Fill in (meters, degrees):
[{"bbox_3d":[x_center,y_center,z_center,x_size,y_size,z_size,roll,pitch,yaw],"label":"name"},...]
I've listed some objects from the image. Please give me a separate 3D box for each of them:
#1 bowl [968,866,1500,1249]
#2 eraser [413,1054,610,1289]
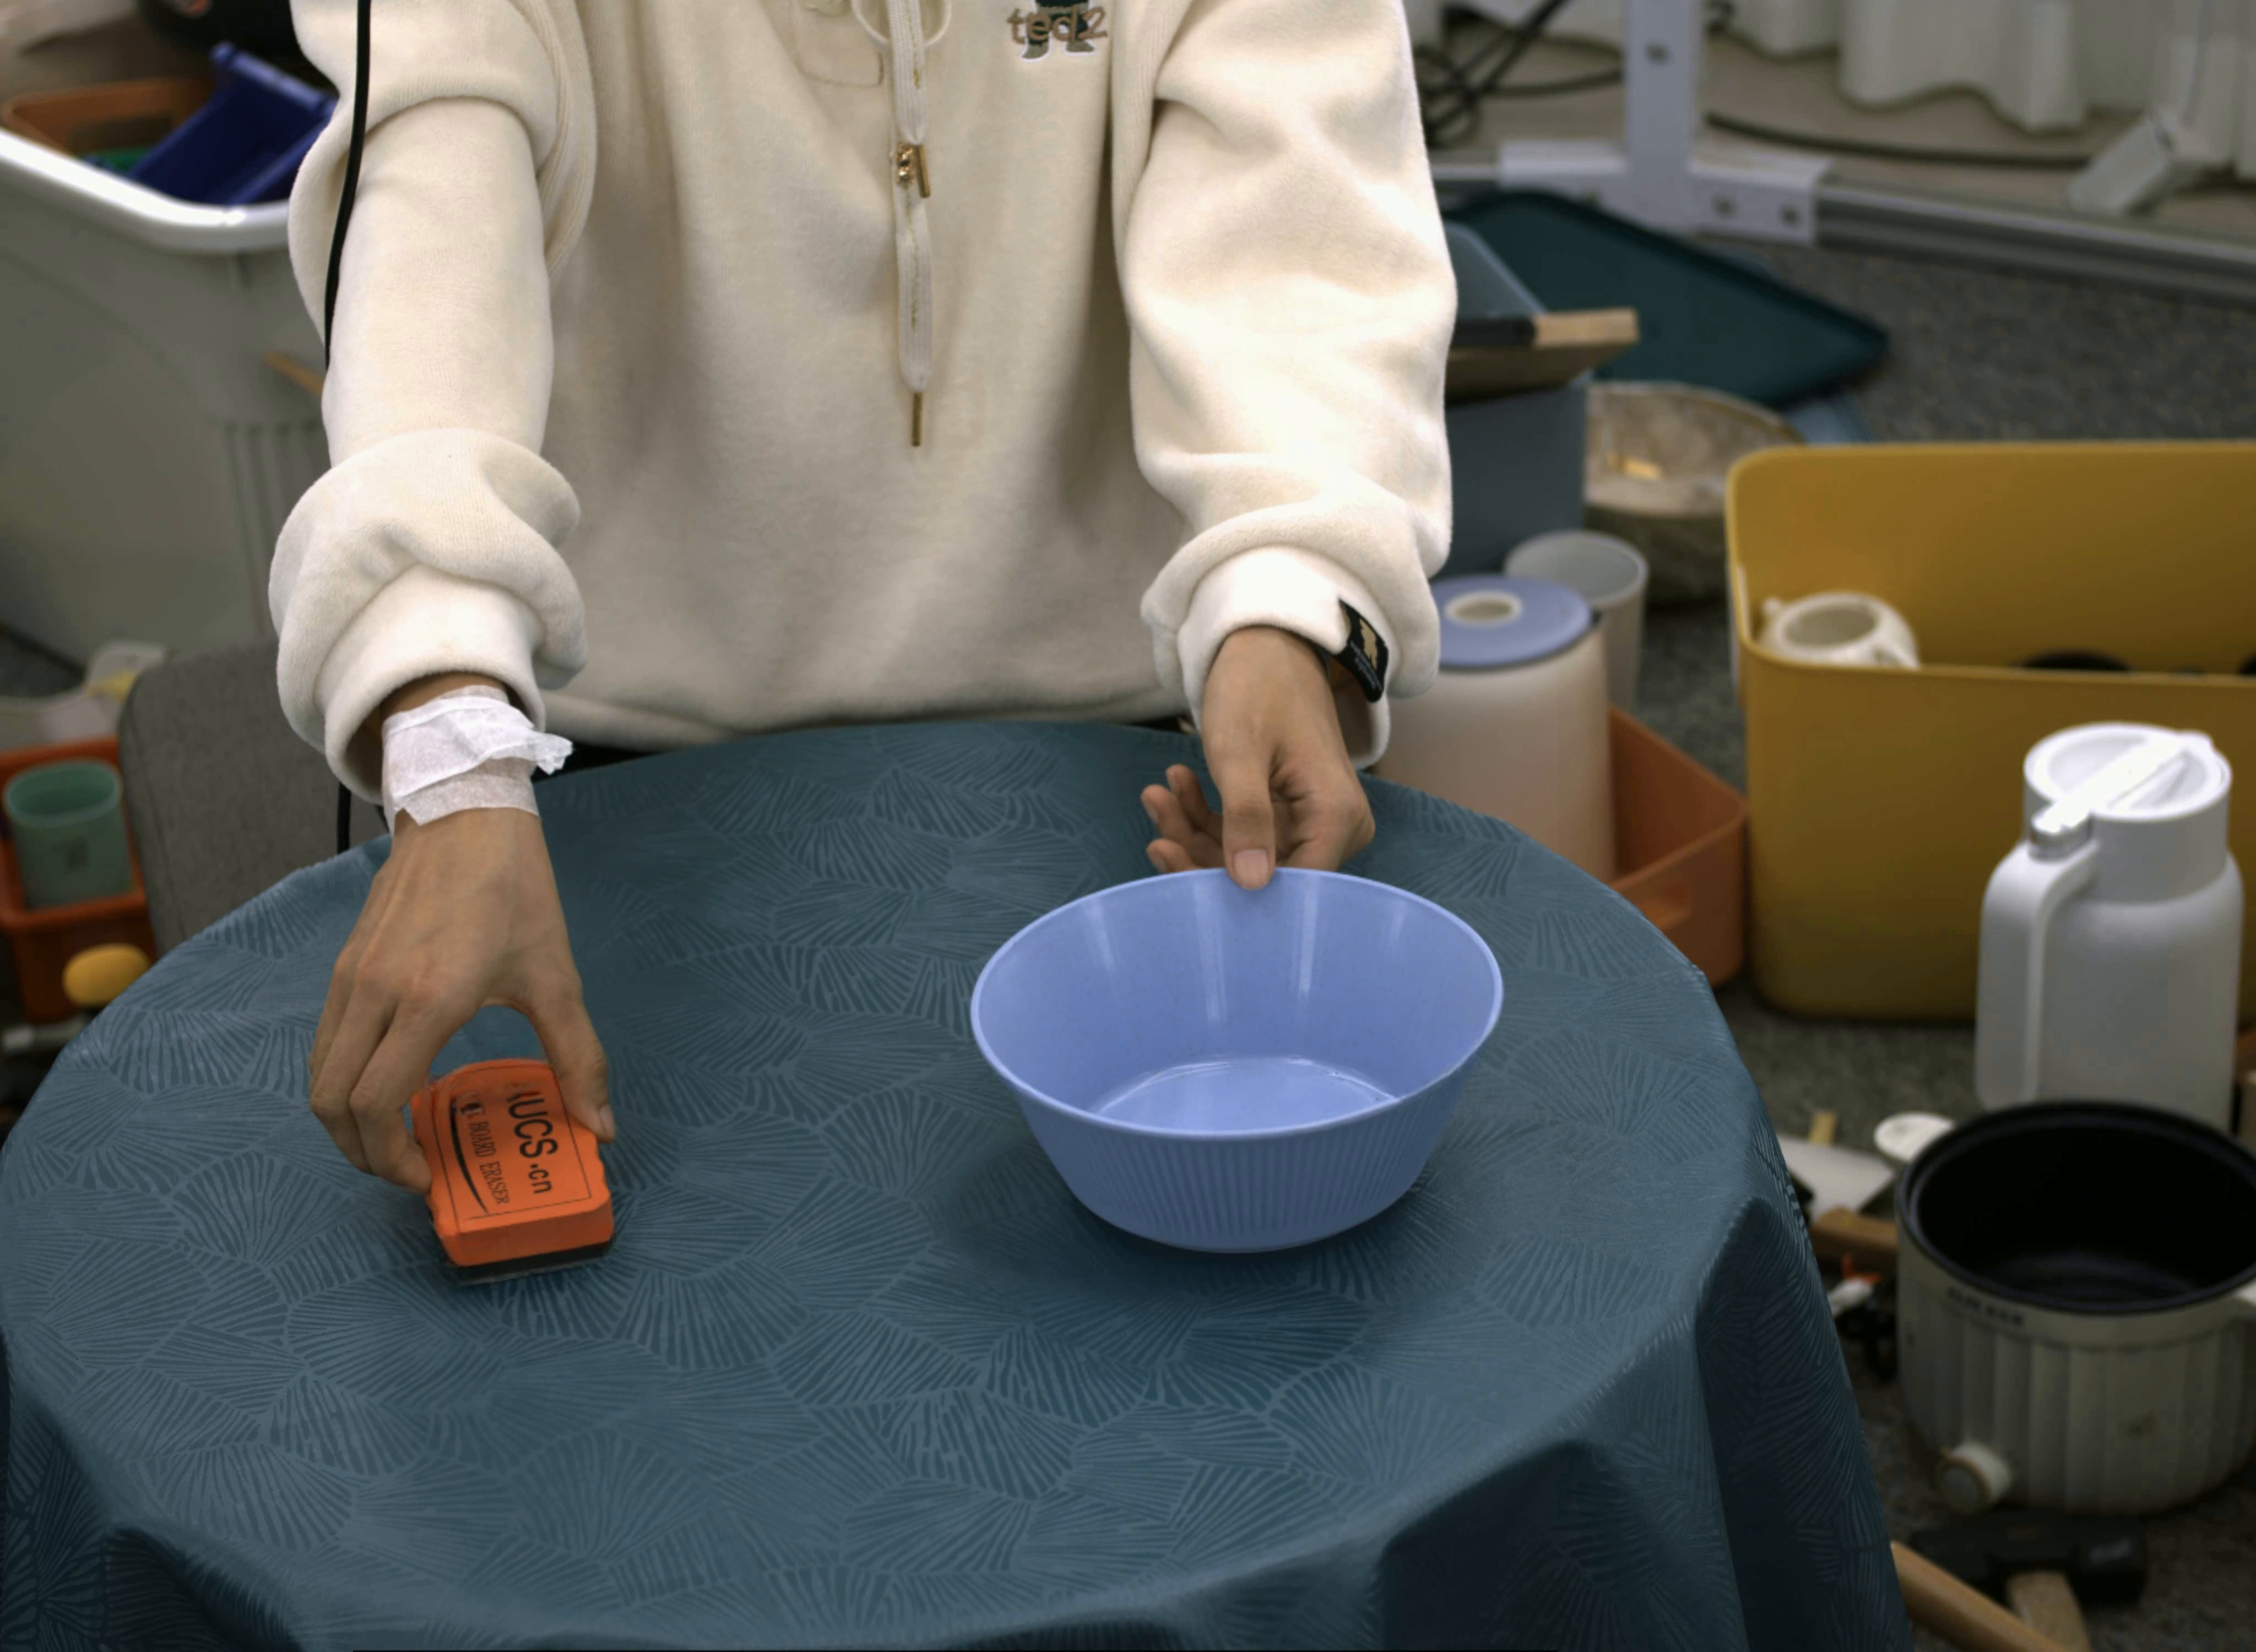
[{"bbox_3d":[0.036,0.082,1.857,0.175,0.069,0.179,-2,27,2],"label":"bowl"},{"bbox_3d":[-0.206,0.115,1.870,0.059,0.022,0.109,-9,28,-8],"label":"eraser"}]
